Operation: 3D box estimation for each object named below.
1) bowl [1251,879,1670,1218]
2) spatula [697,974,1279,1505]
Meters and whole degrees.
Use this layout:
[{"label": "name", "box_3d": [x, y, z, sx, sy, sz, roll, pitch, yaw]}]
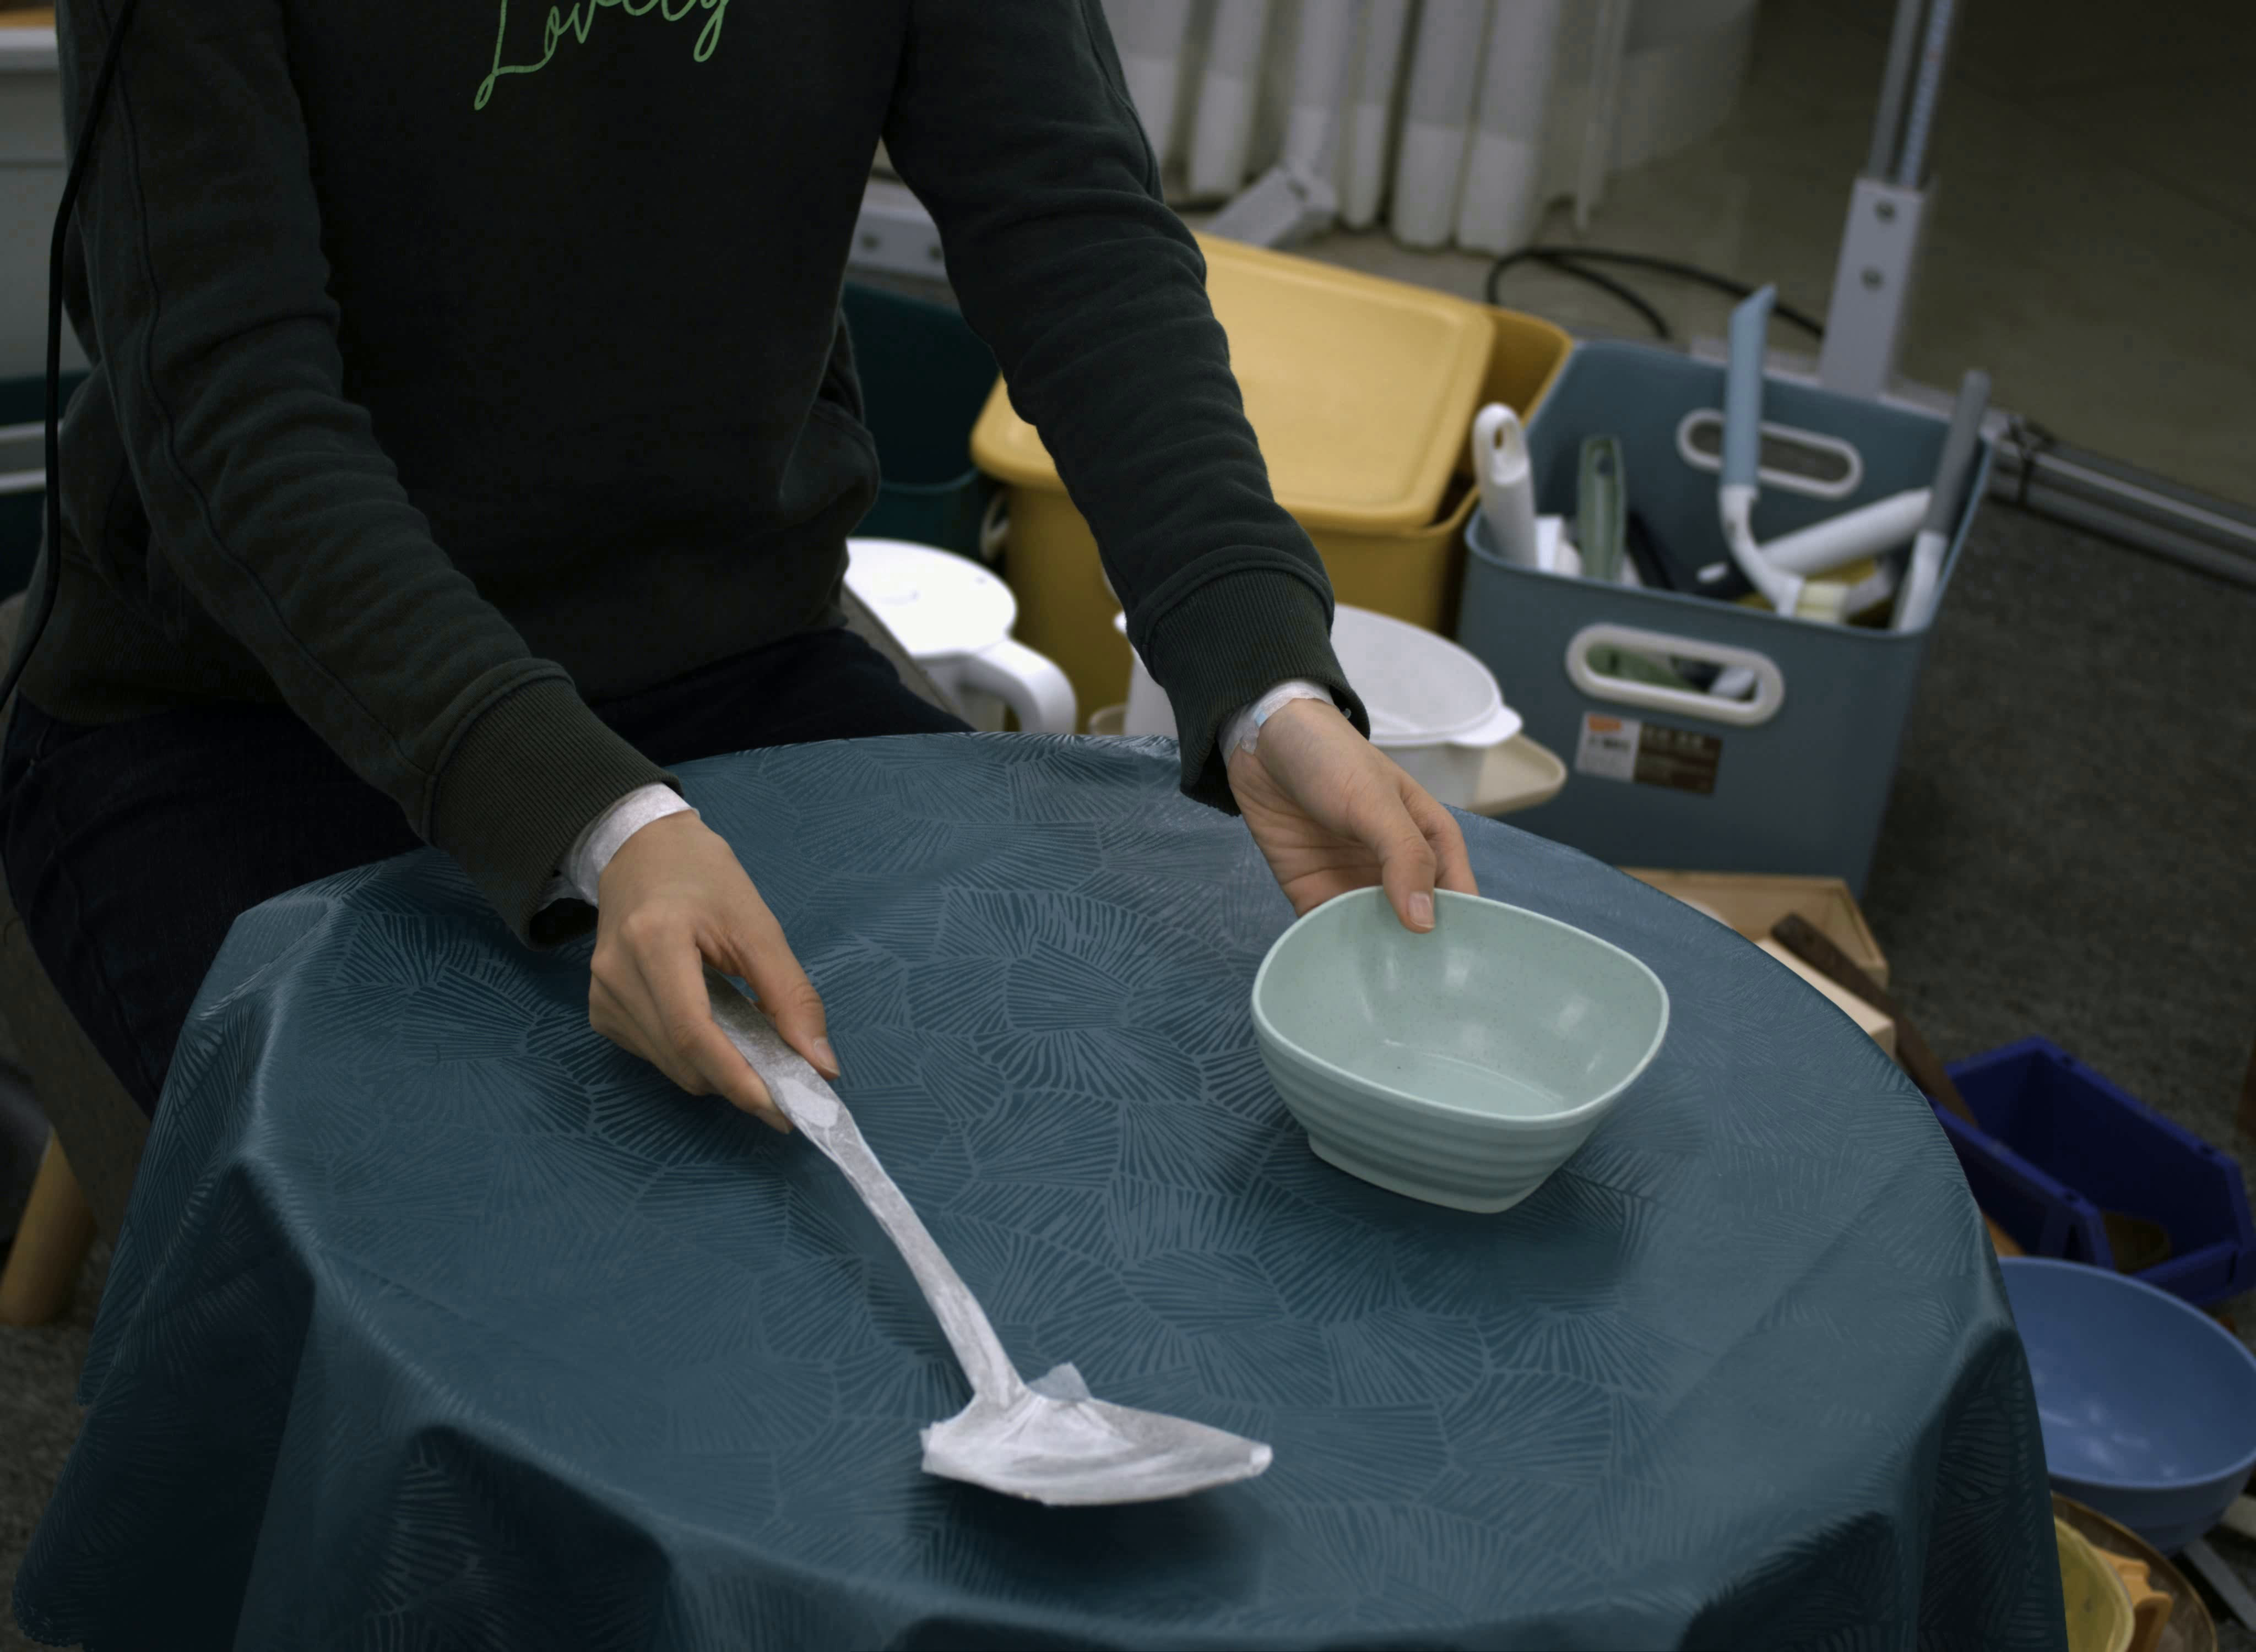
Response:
[{"label": "bowl", "box_3d": [0.111, 0.084, 1.838, 0.151, 0.058, 0.152, 6, 32, -4]}, {"label": "spatula", "box_3d": [-0.070, 0.125, 1.726, 0.098, 0.044, 0.368, -6, 32, -26]}]
